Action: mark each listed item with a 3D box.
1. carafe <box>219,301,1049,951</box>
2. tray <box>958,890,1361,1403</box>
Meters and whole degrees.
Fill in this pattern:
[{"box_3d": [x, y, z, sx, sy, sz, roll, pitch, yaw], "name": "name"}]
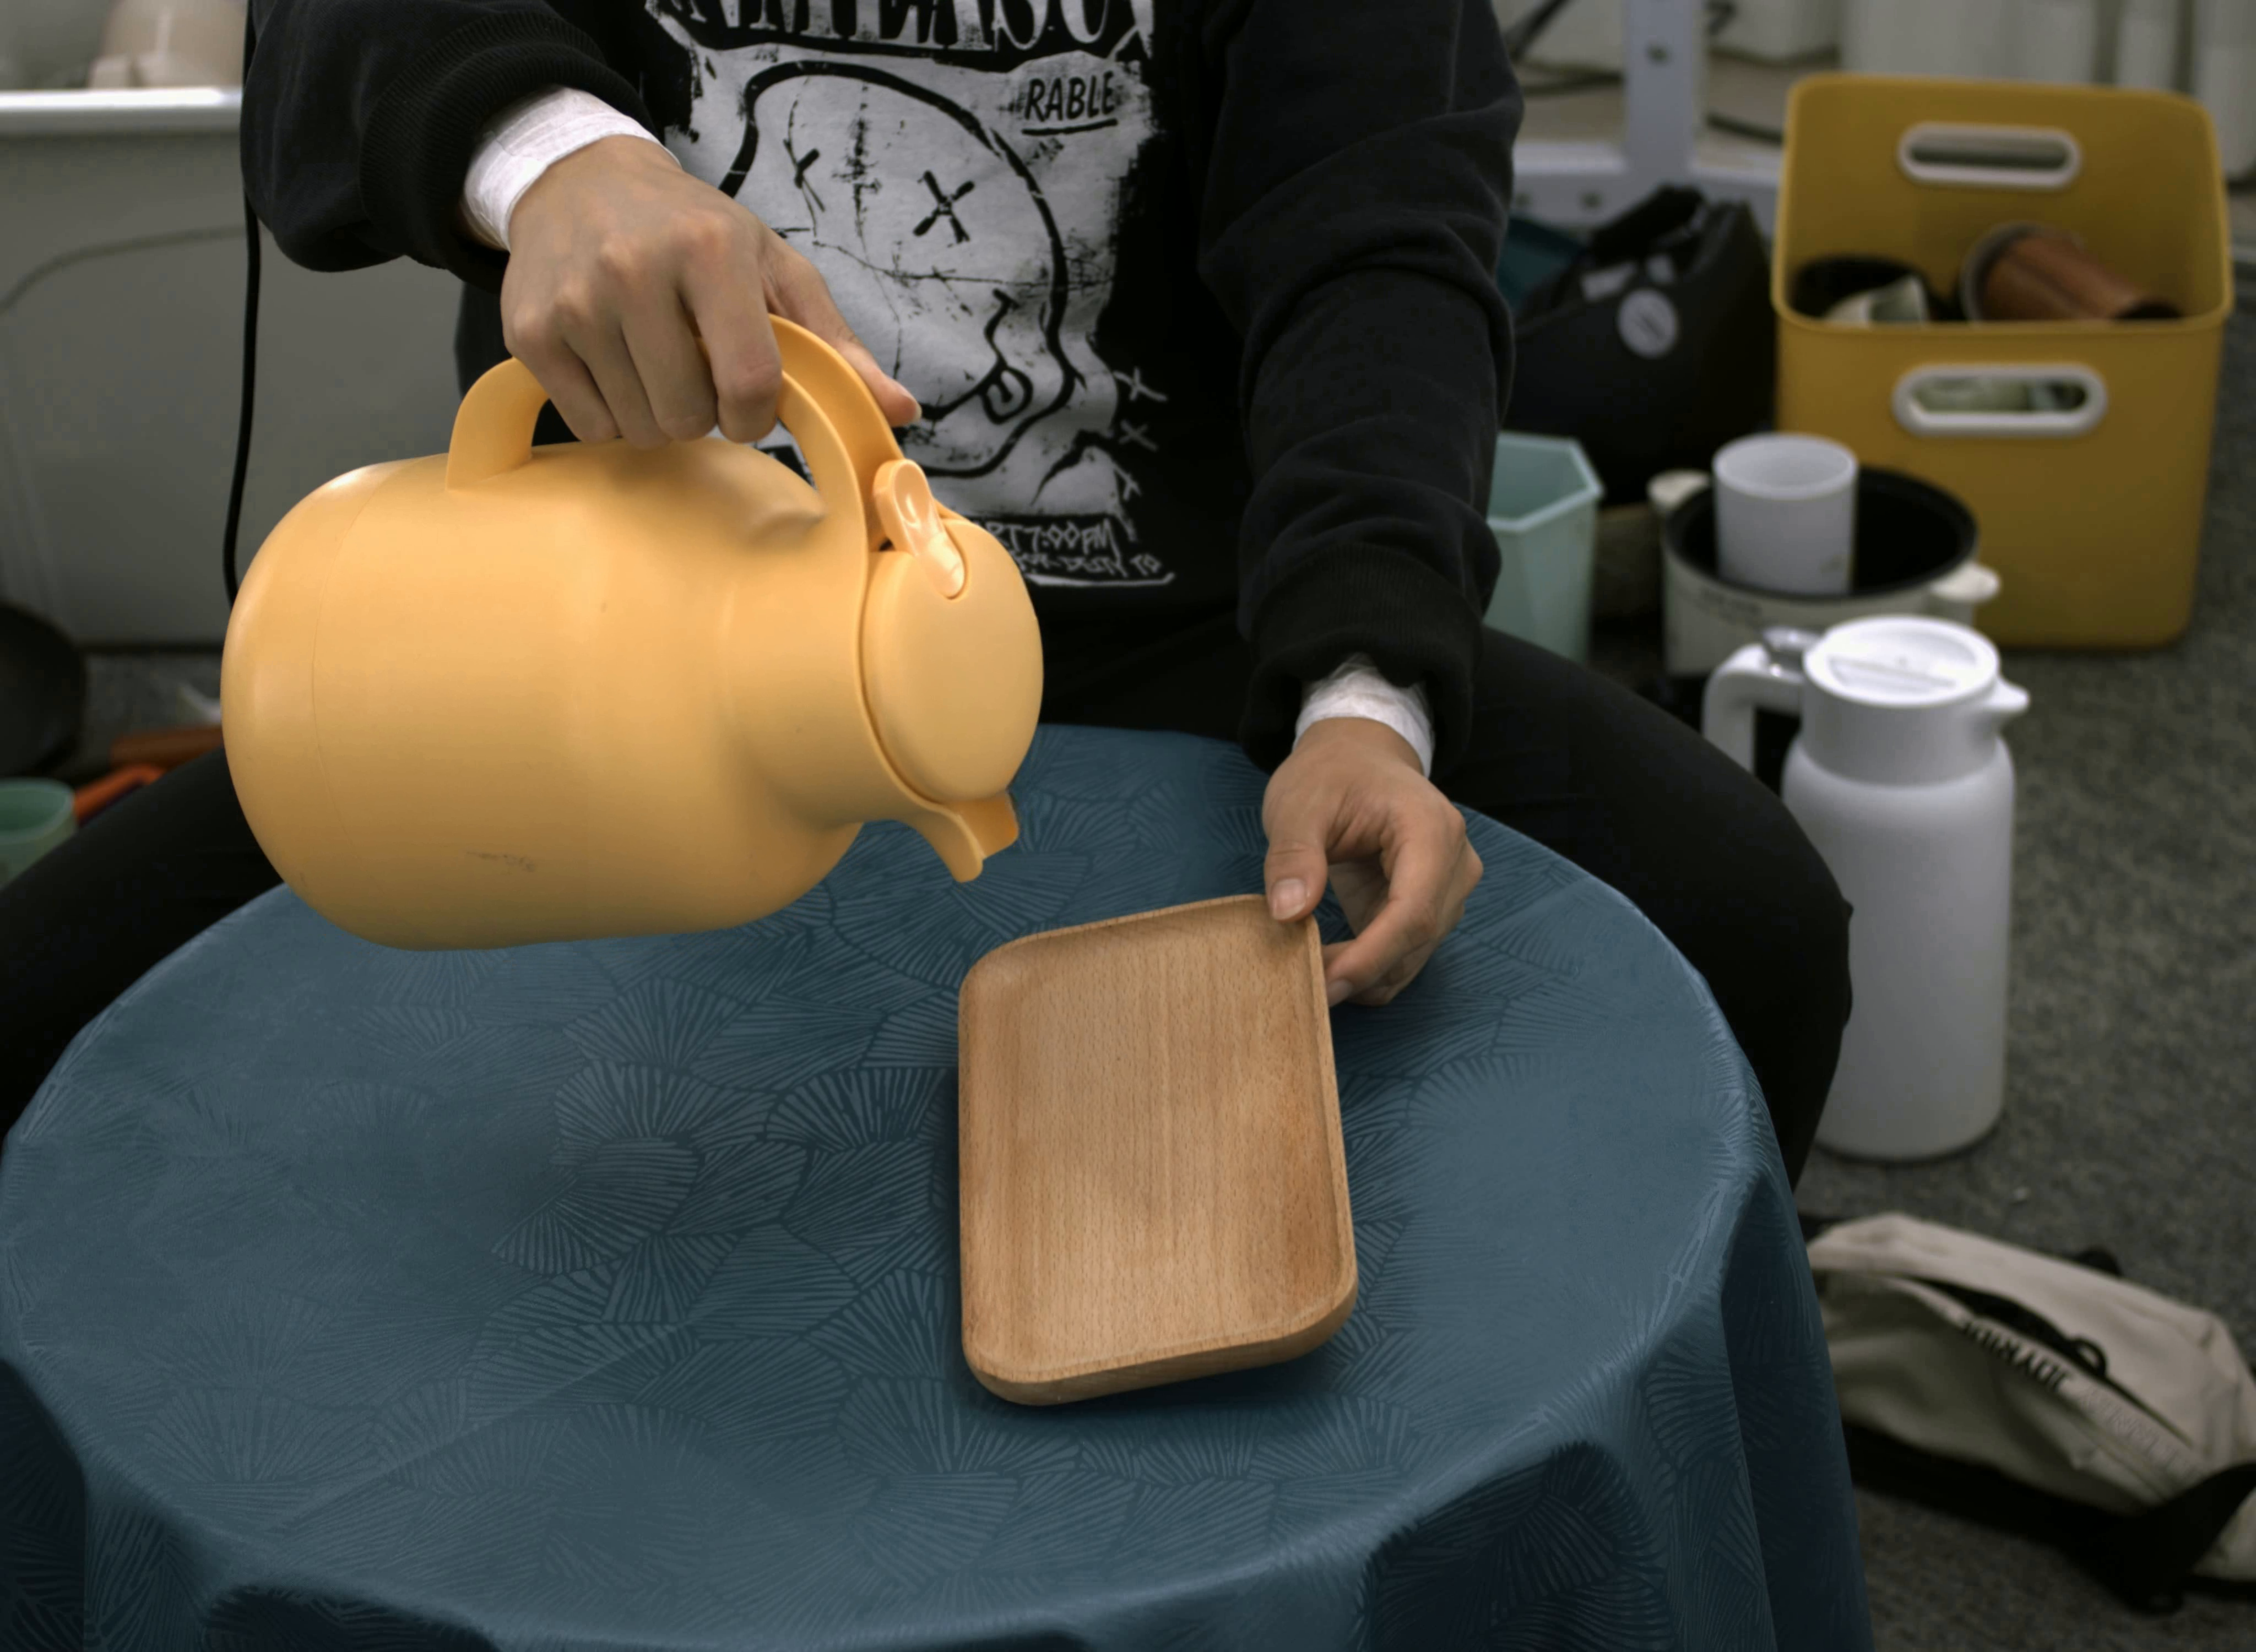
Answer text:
[{"box_3d": [-0.157, -0.064, 1.796, 0.257, 0.201, 0.166, -5, 20, 29], "name": "carafe"}, {"box_3d": [0.008, 0.102, 1.841, 0.130, 0.022, 0.255, -8, 31, 4], "name": "tray"}]
